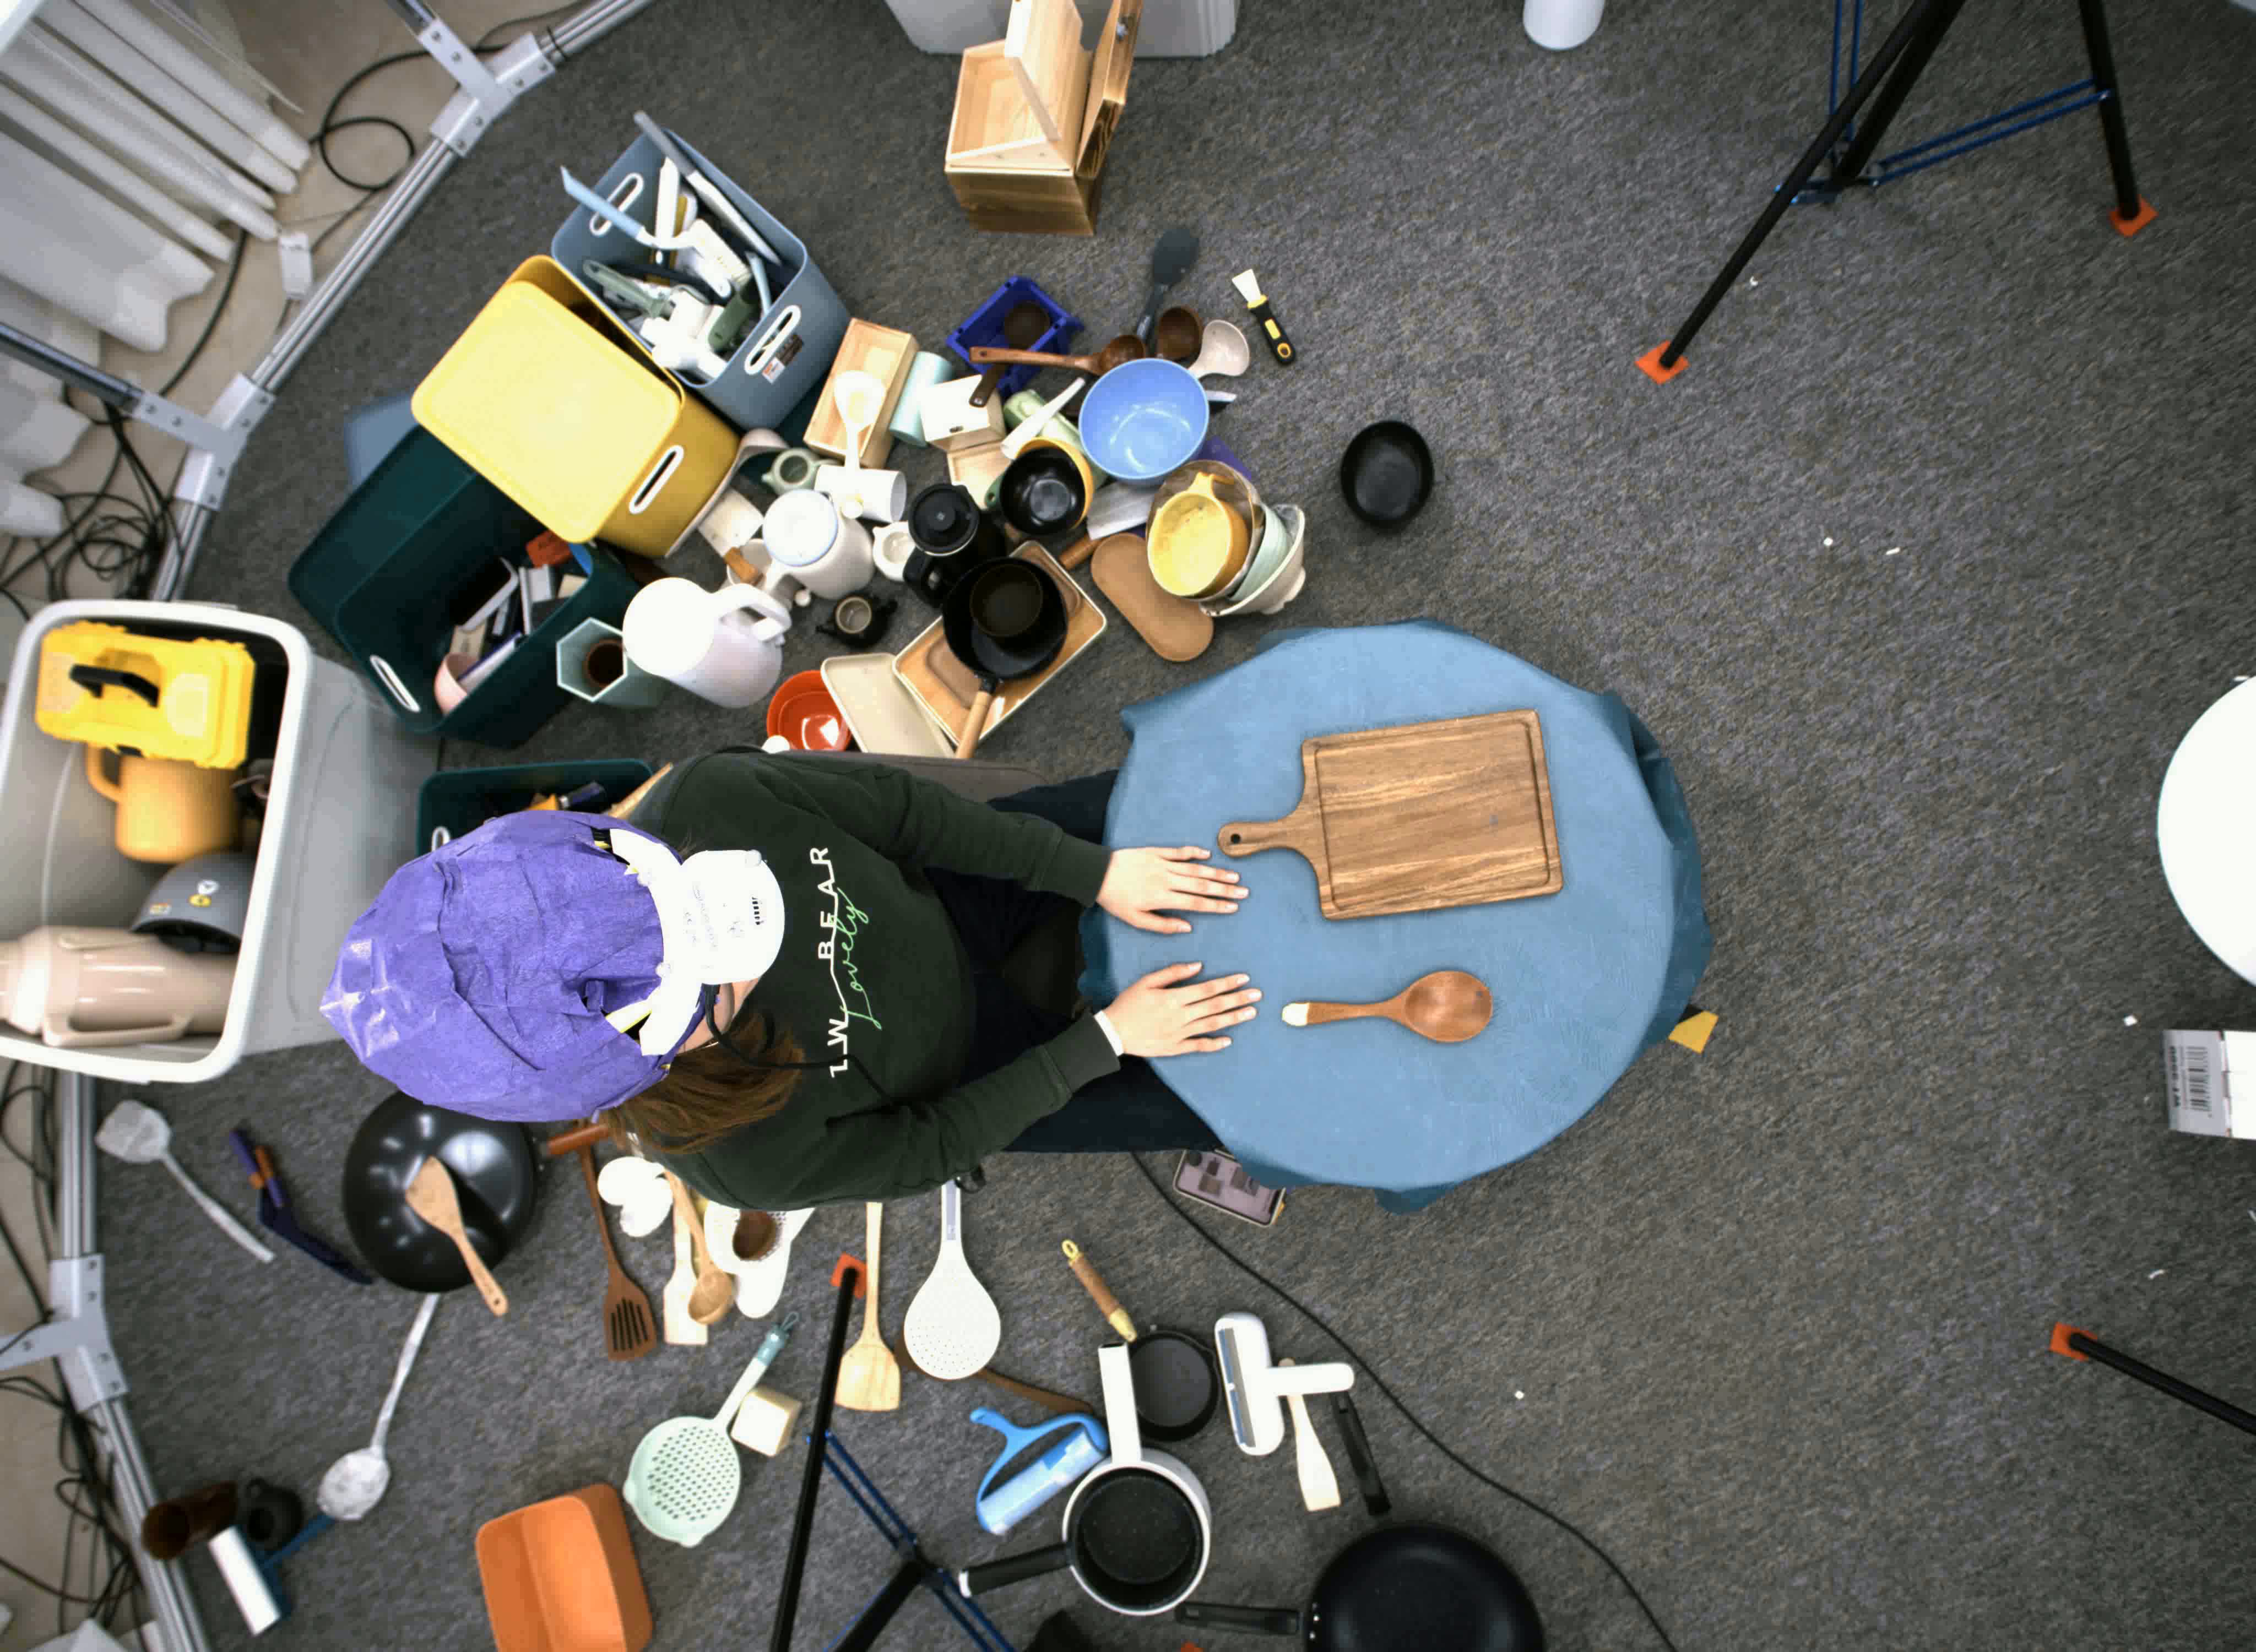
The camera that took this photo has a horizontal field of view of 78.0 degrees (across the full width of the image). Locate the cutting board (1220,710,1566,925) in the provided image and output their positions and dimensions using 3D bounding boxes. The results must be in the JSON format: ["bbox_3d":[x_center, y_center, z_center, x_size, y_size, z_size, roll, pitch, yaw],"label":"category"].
[{"bbox_3d":[0.271,-0.004,1.461,0.354,0.023,0.200,-8,86,10],"label":"cutting board"}]

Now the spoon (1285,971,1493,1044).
[{"bbox_3d":[0.272,0.192,1.447,0.217,0.017,0.075,-4,87,9],"label":"spoon"}]
